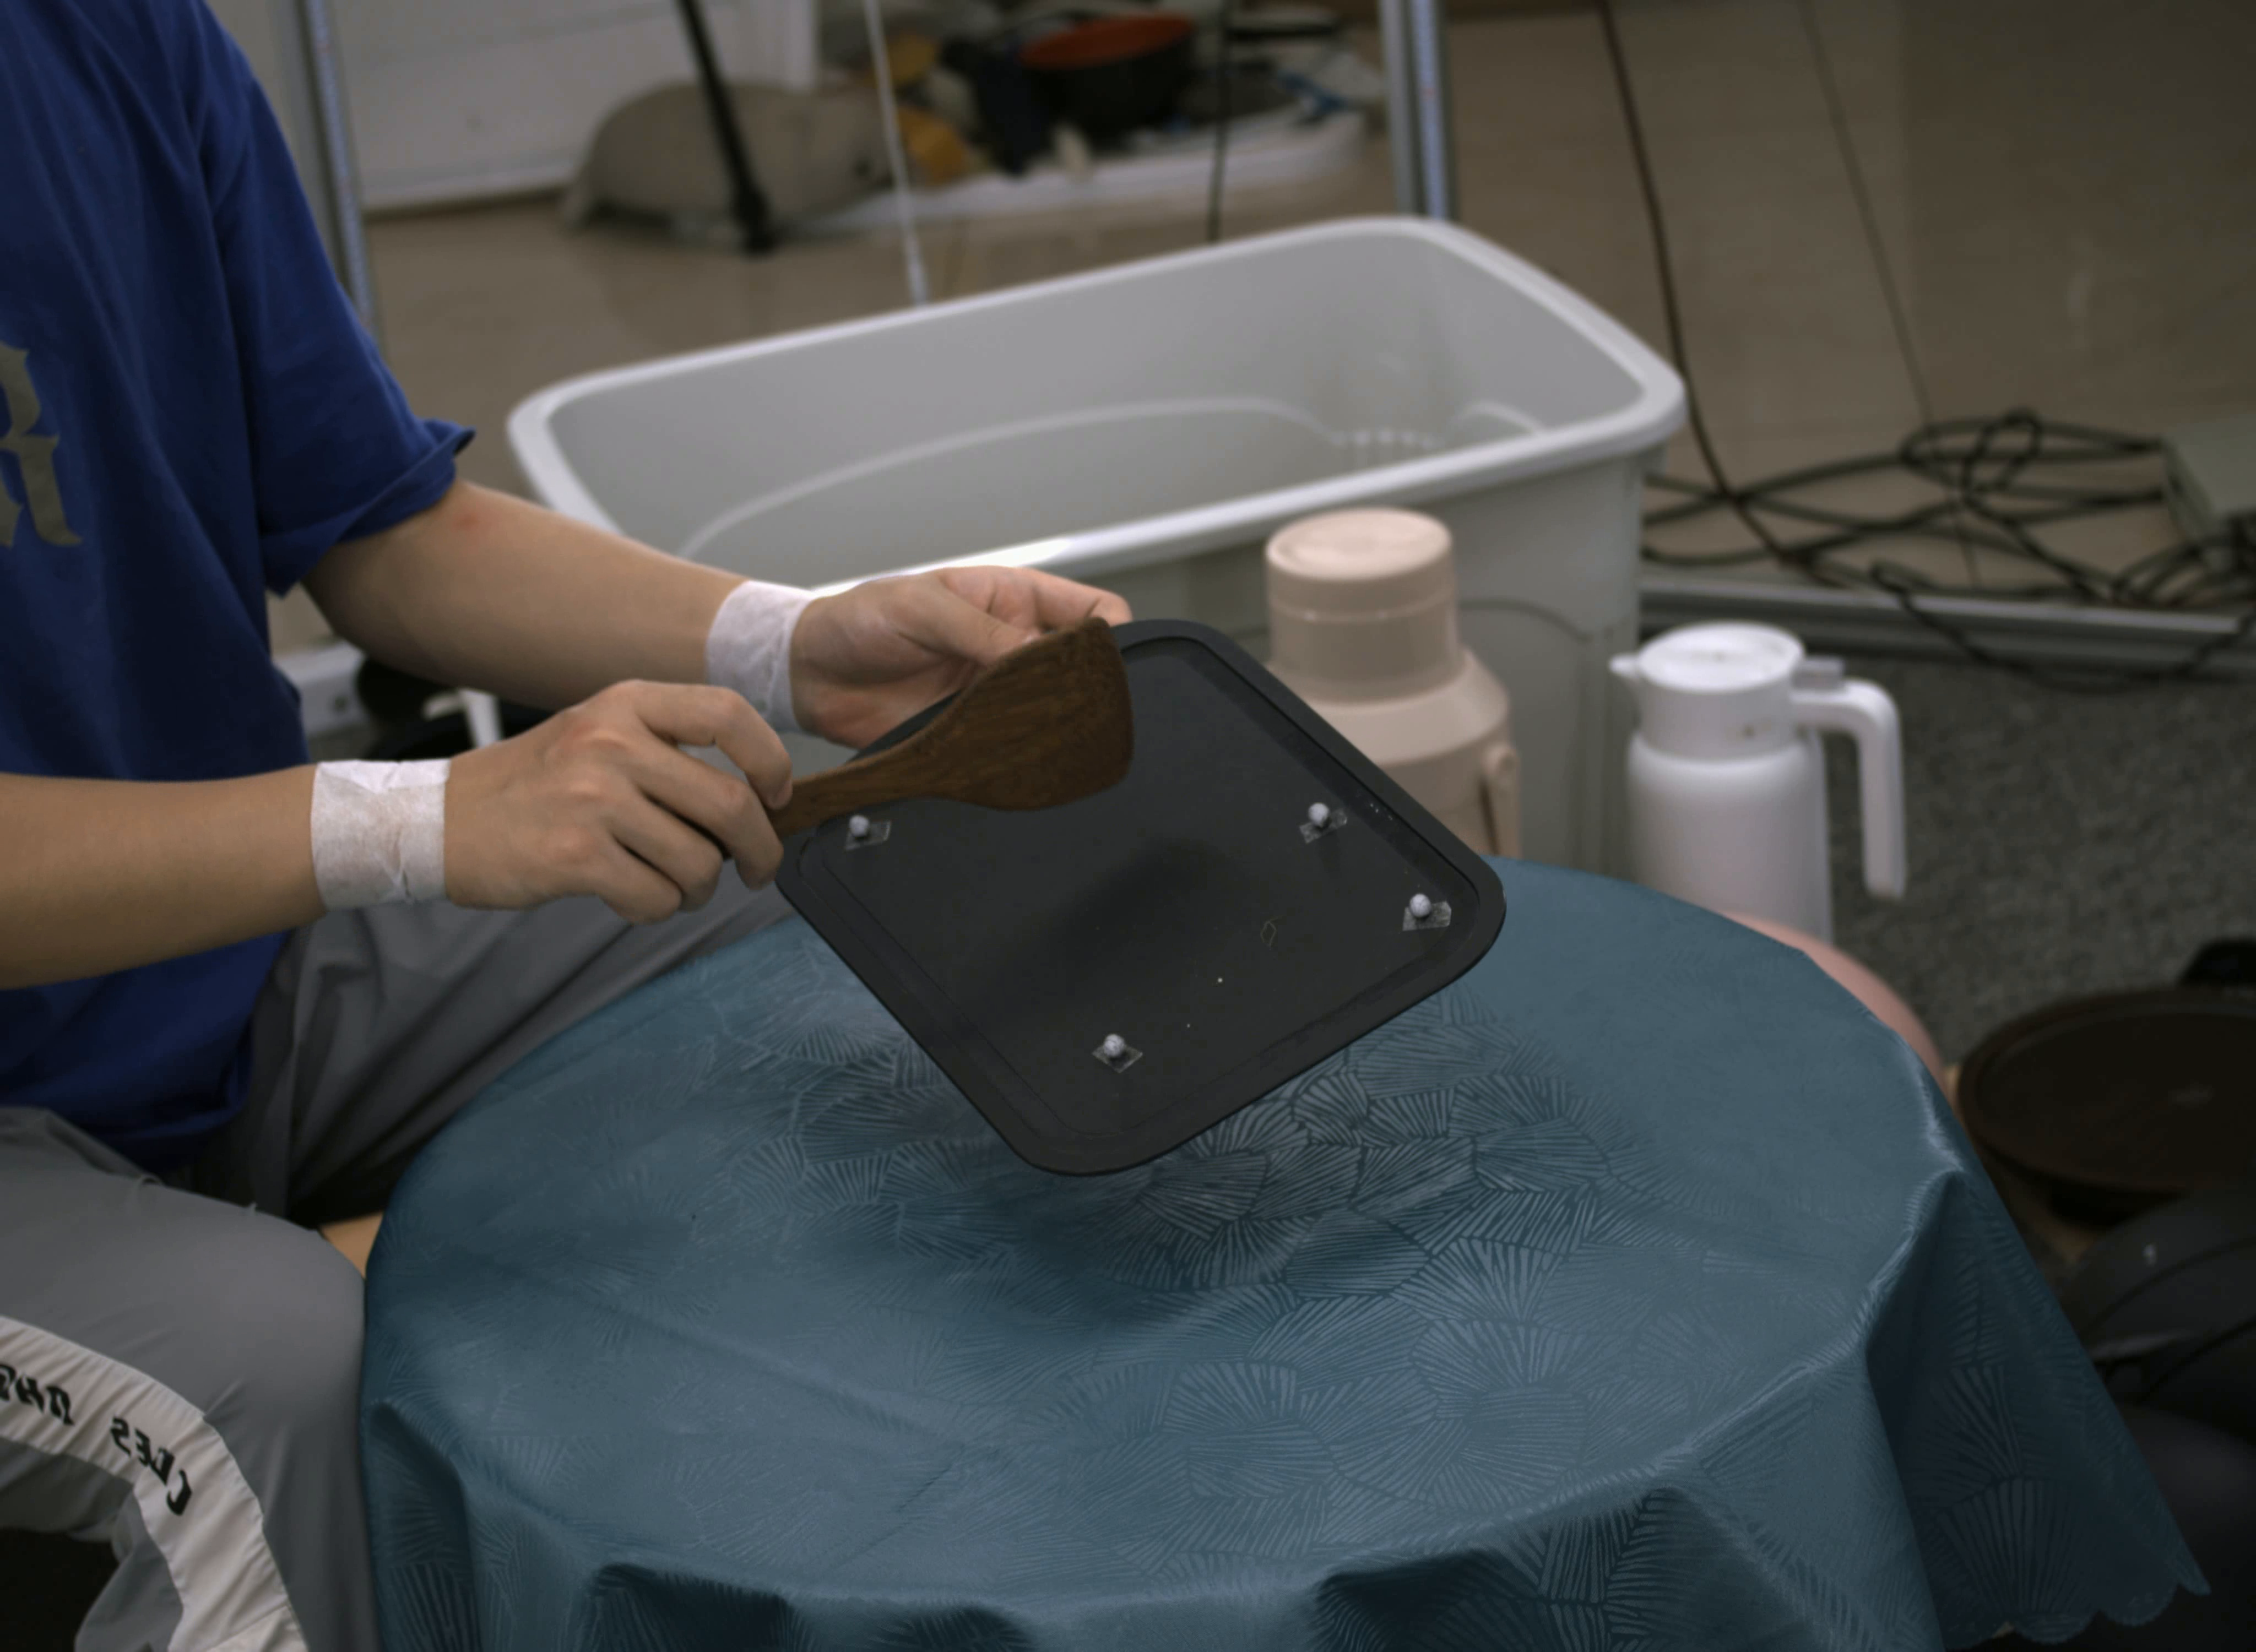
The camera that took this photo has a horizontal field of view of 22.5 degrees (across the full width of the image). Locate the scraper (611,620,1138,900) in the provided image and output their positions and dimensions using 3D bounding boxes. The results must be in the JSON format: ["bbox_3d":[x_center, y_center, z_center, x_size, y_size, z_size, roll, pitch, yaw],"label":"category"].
[{"bbox_3d":[-0.094,-0.015,2.135,0.210,0.077,0.010,-19,33,-11],"label":"scraper"}]

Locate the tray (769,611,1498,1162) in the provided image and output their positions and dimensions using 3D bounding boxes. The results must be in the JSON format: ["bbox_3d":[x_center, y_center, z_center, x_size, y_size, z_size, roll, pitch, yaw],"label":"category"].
[{"bbox_3d":[-0.008,0.014,2.182,0.210,0.010,0.321,-31,37,-11],"label":"tray"}]
